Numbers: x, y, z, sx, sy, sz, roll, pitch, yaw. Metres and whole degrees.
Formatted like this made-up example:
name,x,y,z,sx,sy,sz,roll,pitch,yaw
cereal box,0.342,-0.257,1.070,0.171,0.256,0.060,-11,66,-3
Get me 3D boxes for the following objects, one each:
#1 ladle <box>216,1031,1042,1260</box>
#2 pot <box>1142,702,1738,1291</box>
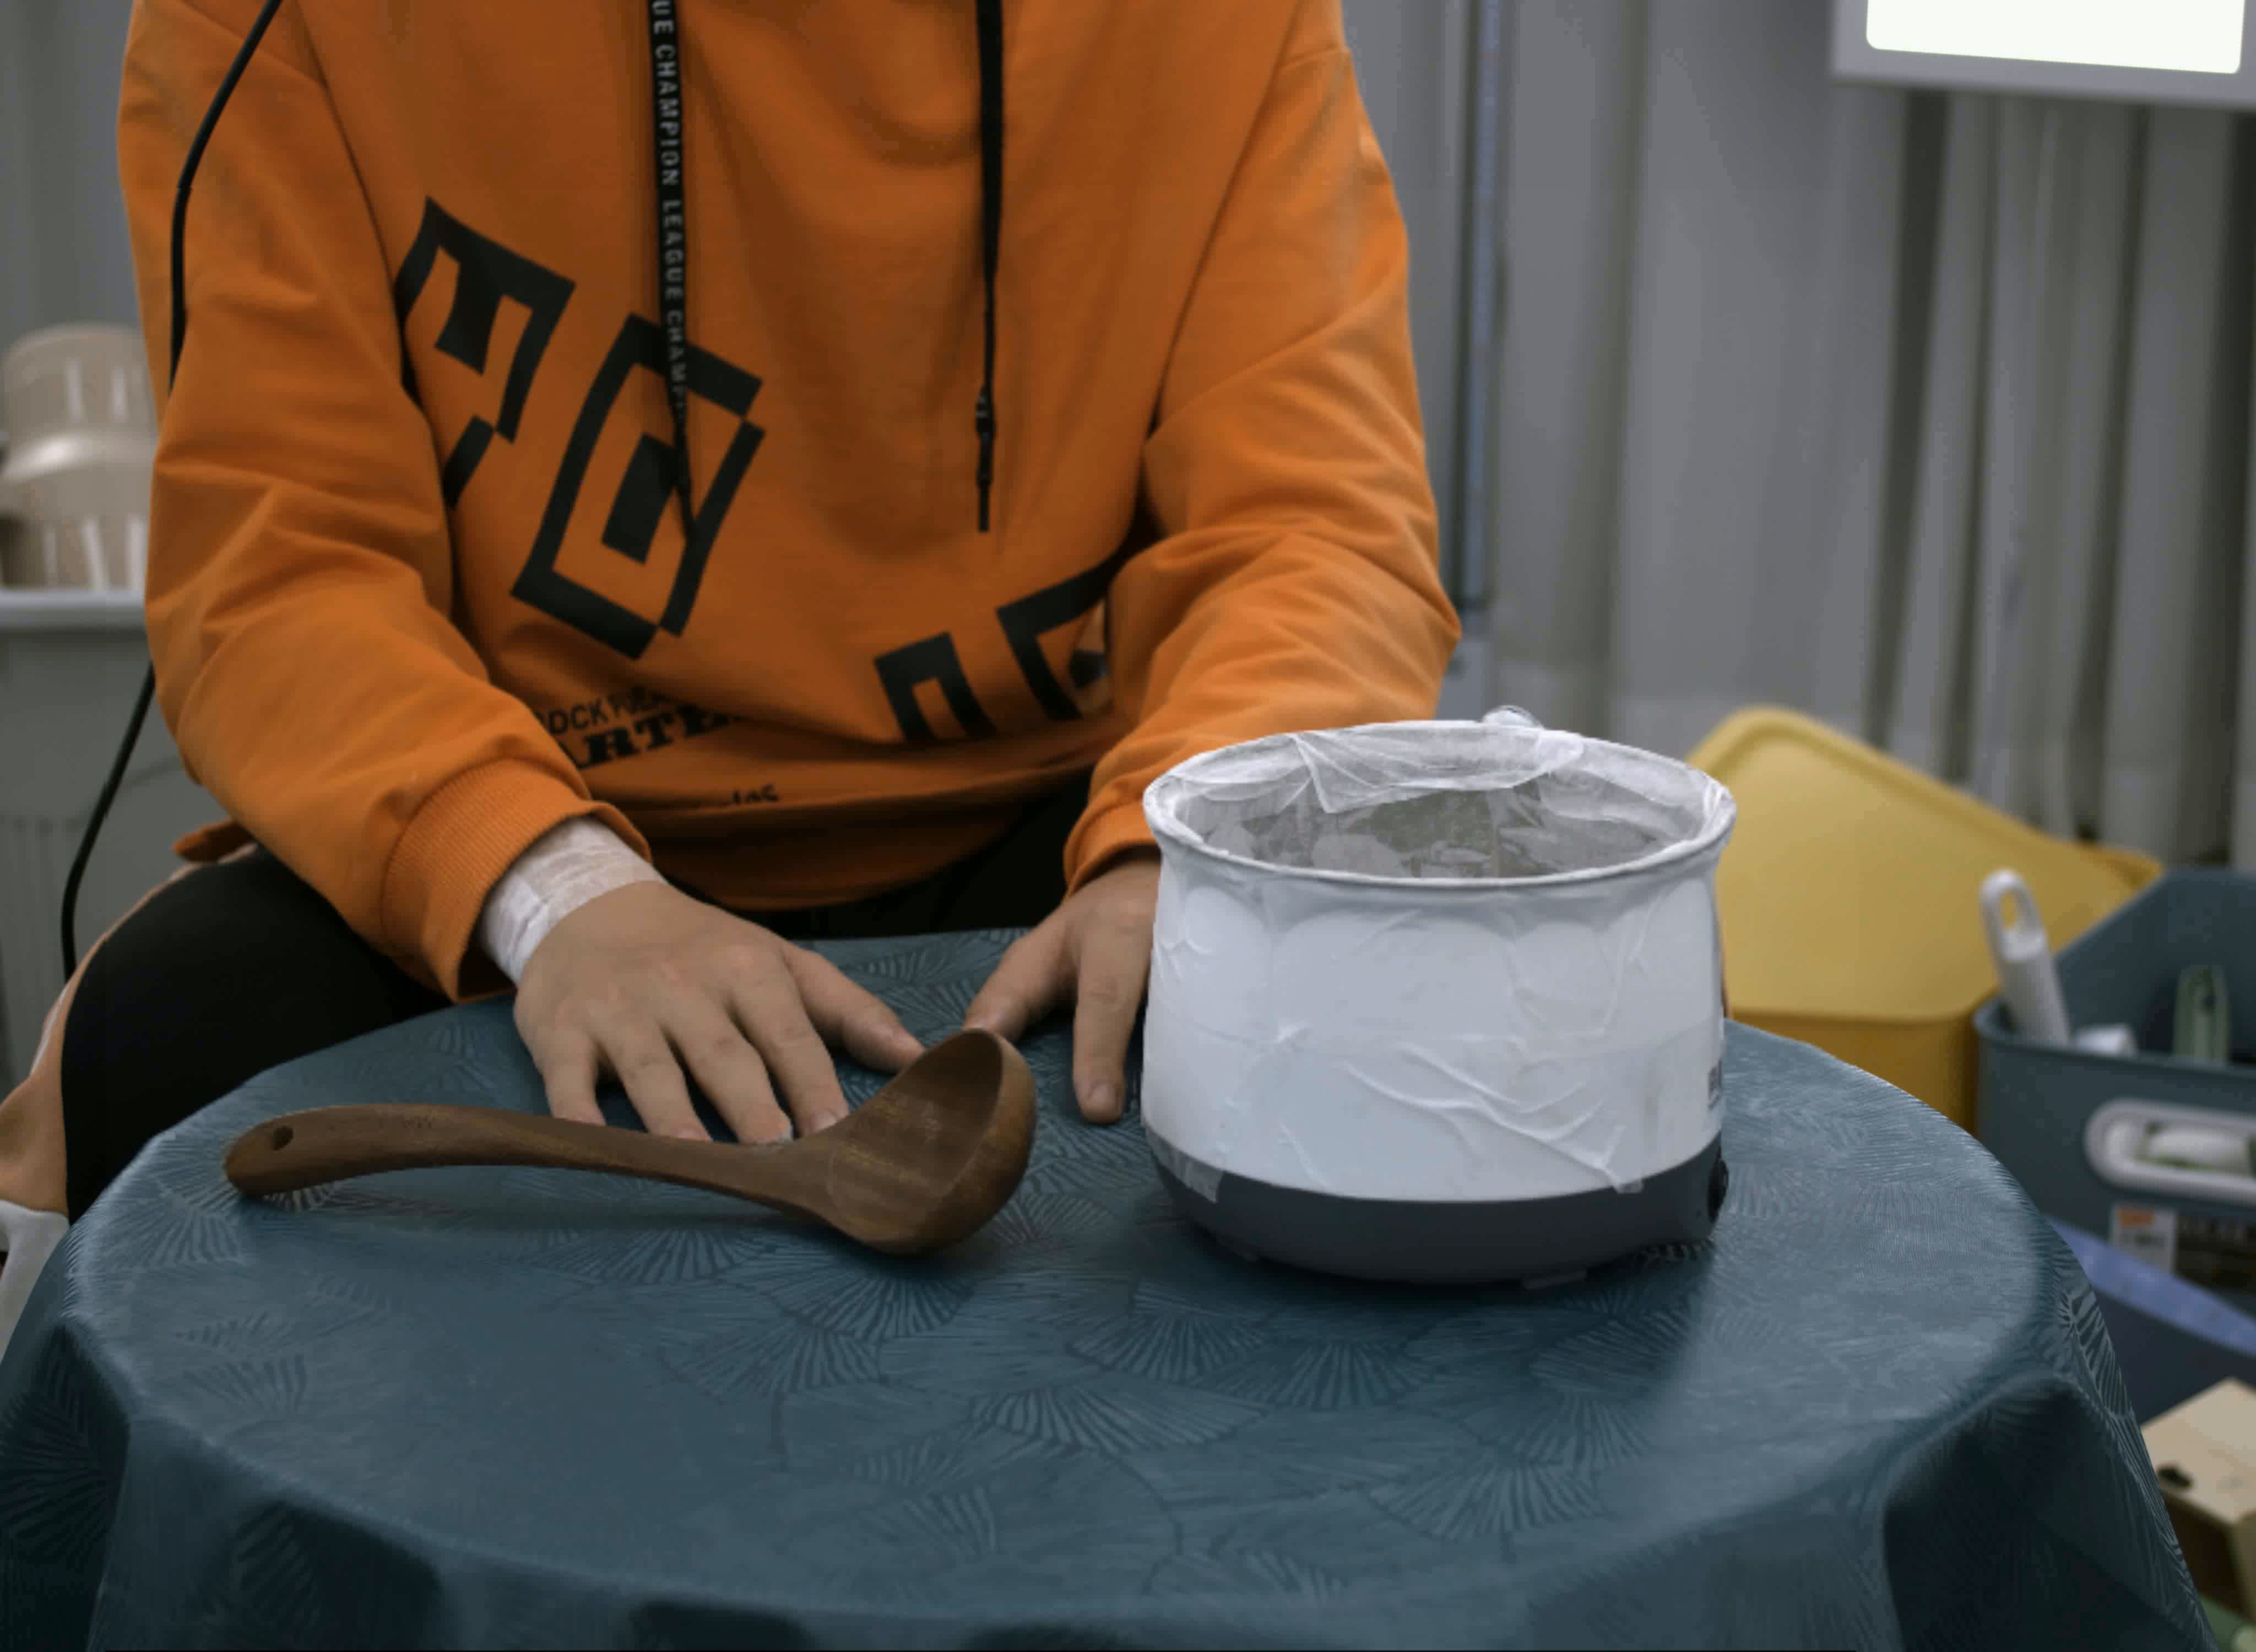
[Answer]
name,x,y,z,sx,sy,sz,roll,pitch,yaw
ladle,-0.153,0.091,1.581,0.258,0.066,0.076,3,42,8
pot,0.099,0.045,1.609,0.177,0.138,0.233,5,17,13
